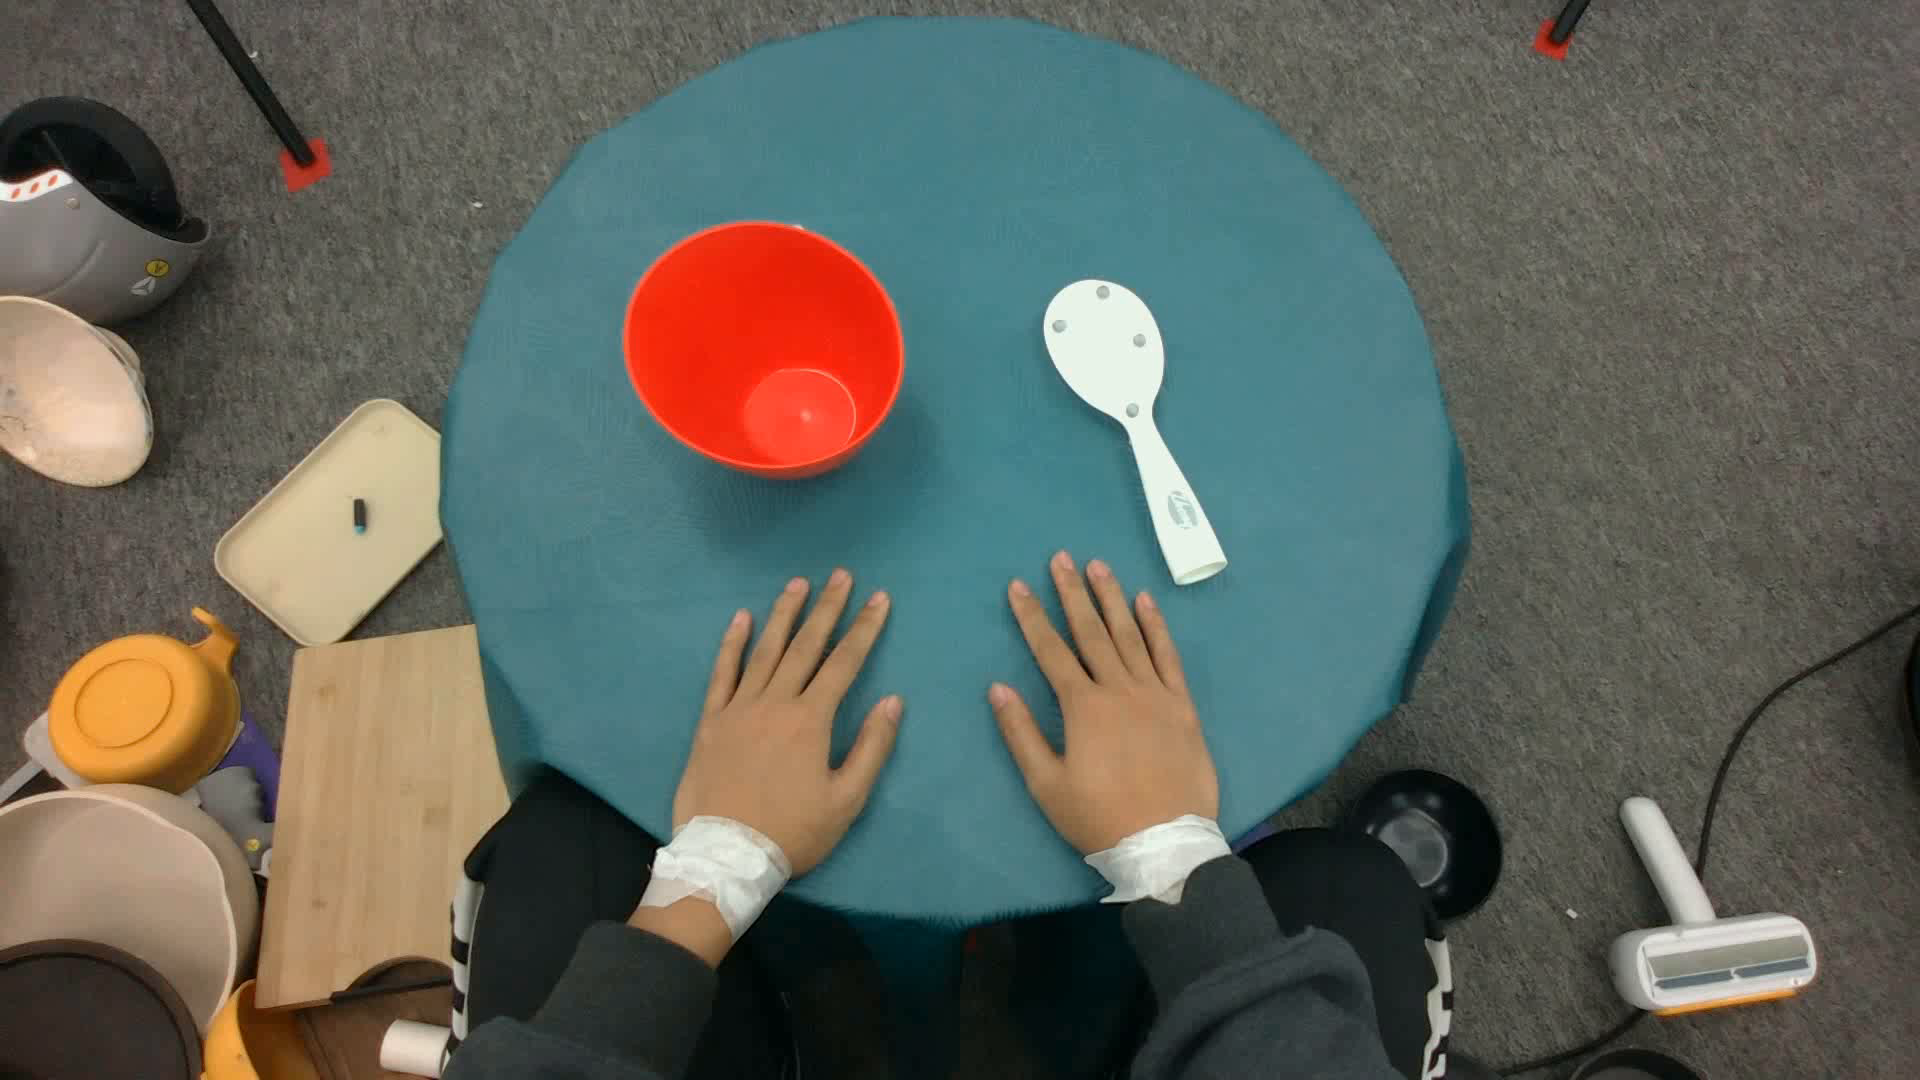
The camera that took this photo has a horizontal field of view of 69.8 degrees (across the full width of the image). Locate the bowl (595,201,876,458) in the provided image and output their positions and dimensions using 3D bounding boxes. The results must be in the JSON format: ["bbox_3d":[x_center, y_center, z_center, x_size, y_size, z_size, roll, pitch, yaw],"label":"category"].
[{"bbox_3d":[-0.120,-0.104,0.775,0.148,0.104,0.148,1,69,-3],"label":"bowl"}]

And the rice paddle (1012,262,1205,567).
[{"bbox_3d":[0.088,-0.081,0.812,0.069,0.029,0.205,-18,71,-10],"label":"rice paddle"}]
